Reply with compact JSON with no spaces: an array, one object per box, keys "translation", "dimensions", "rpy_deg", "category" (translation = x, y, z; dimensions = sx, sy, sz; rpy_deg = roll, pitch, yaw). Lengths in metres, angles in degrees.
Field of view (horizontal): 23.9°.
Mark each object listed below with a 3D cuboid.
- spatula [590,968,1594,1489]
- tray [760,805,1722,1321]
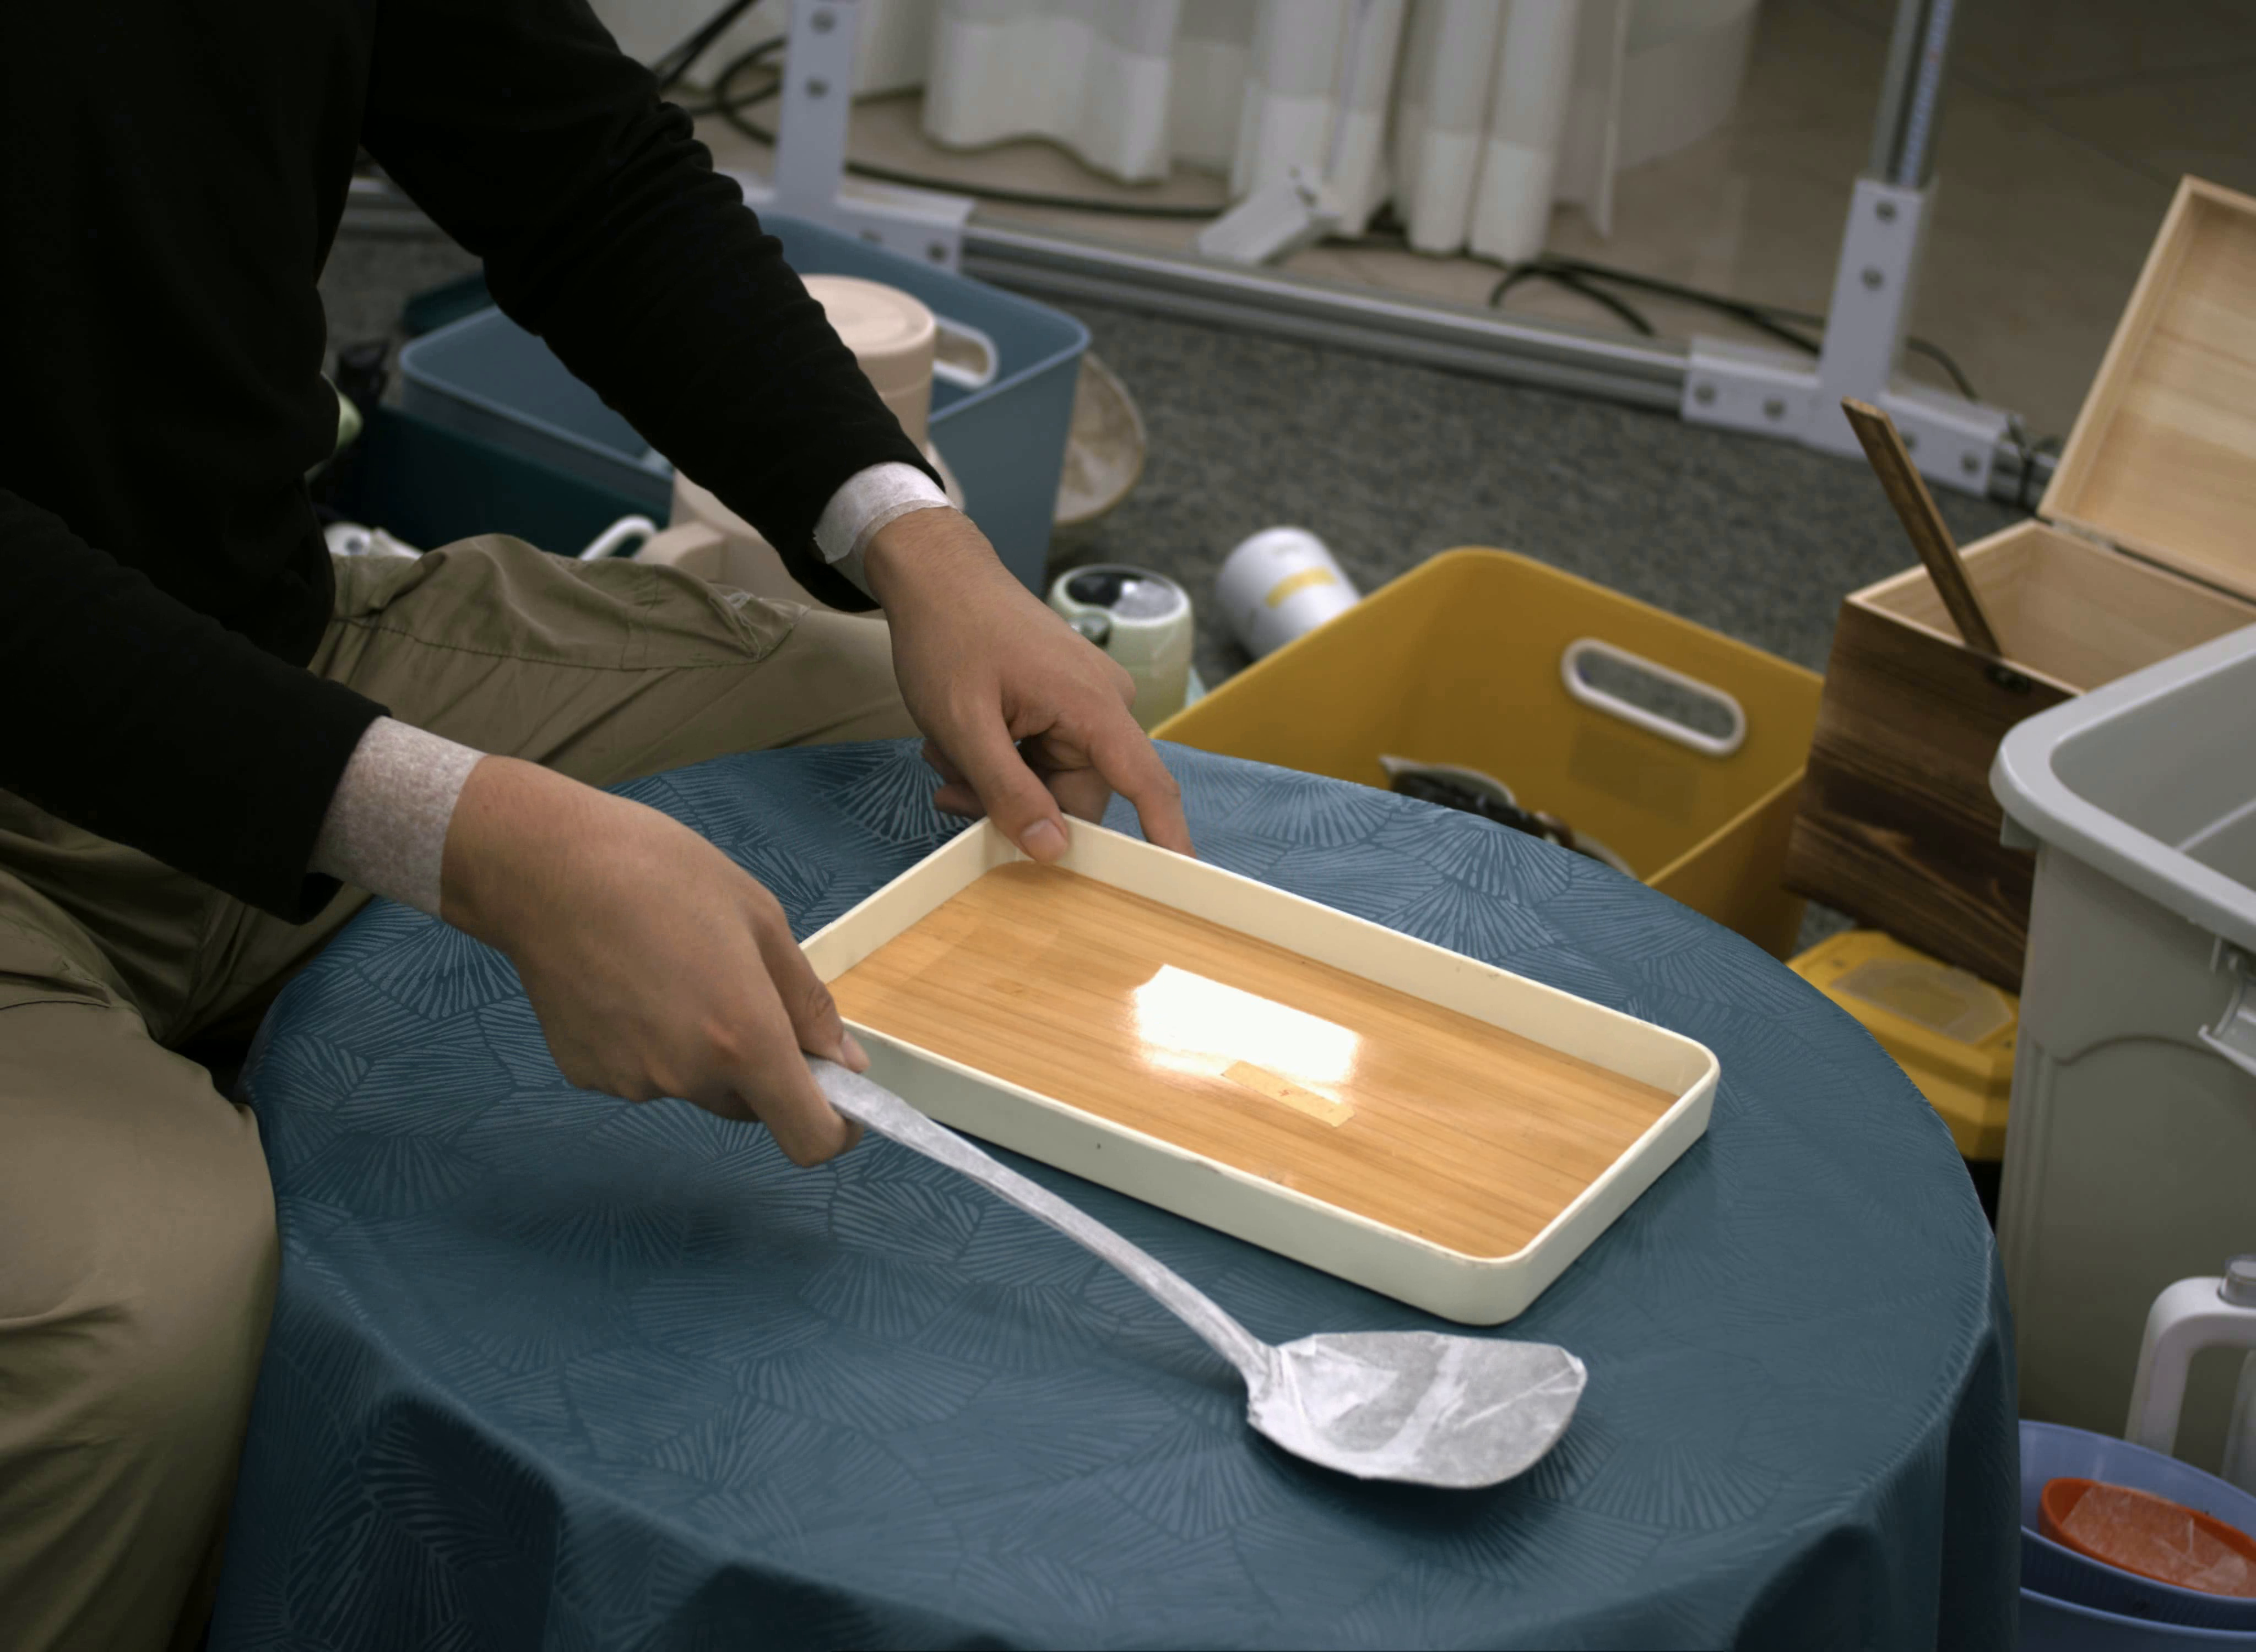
[{"translation":[-0.023,0.120,1.711],"dimensions":[0.366,0.044,0.098],"rpy_deg":[29,32,14],"category":"spatula"},{"translation":[0.040,0.079,1.869],"dimensions":[0.301,0.027,0.191],"rpy_deg":[20,30,24],"category":"tray"}]
